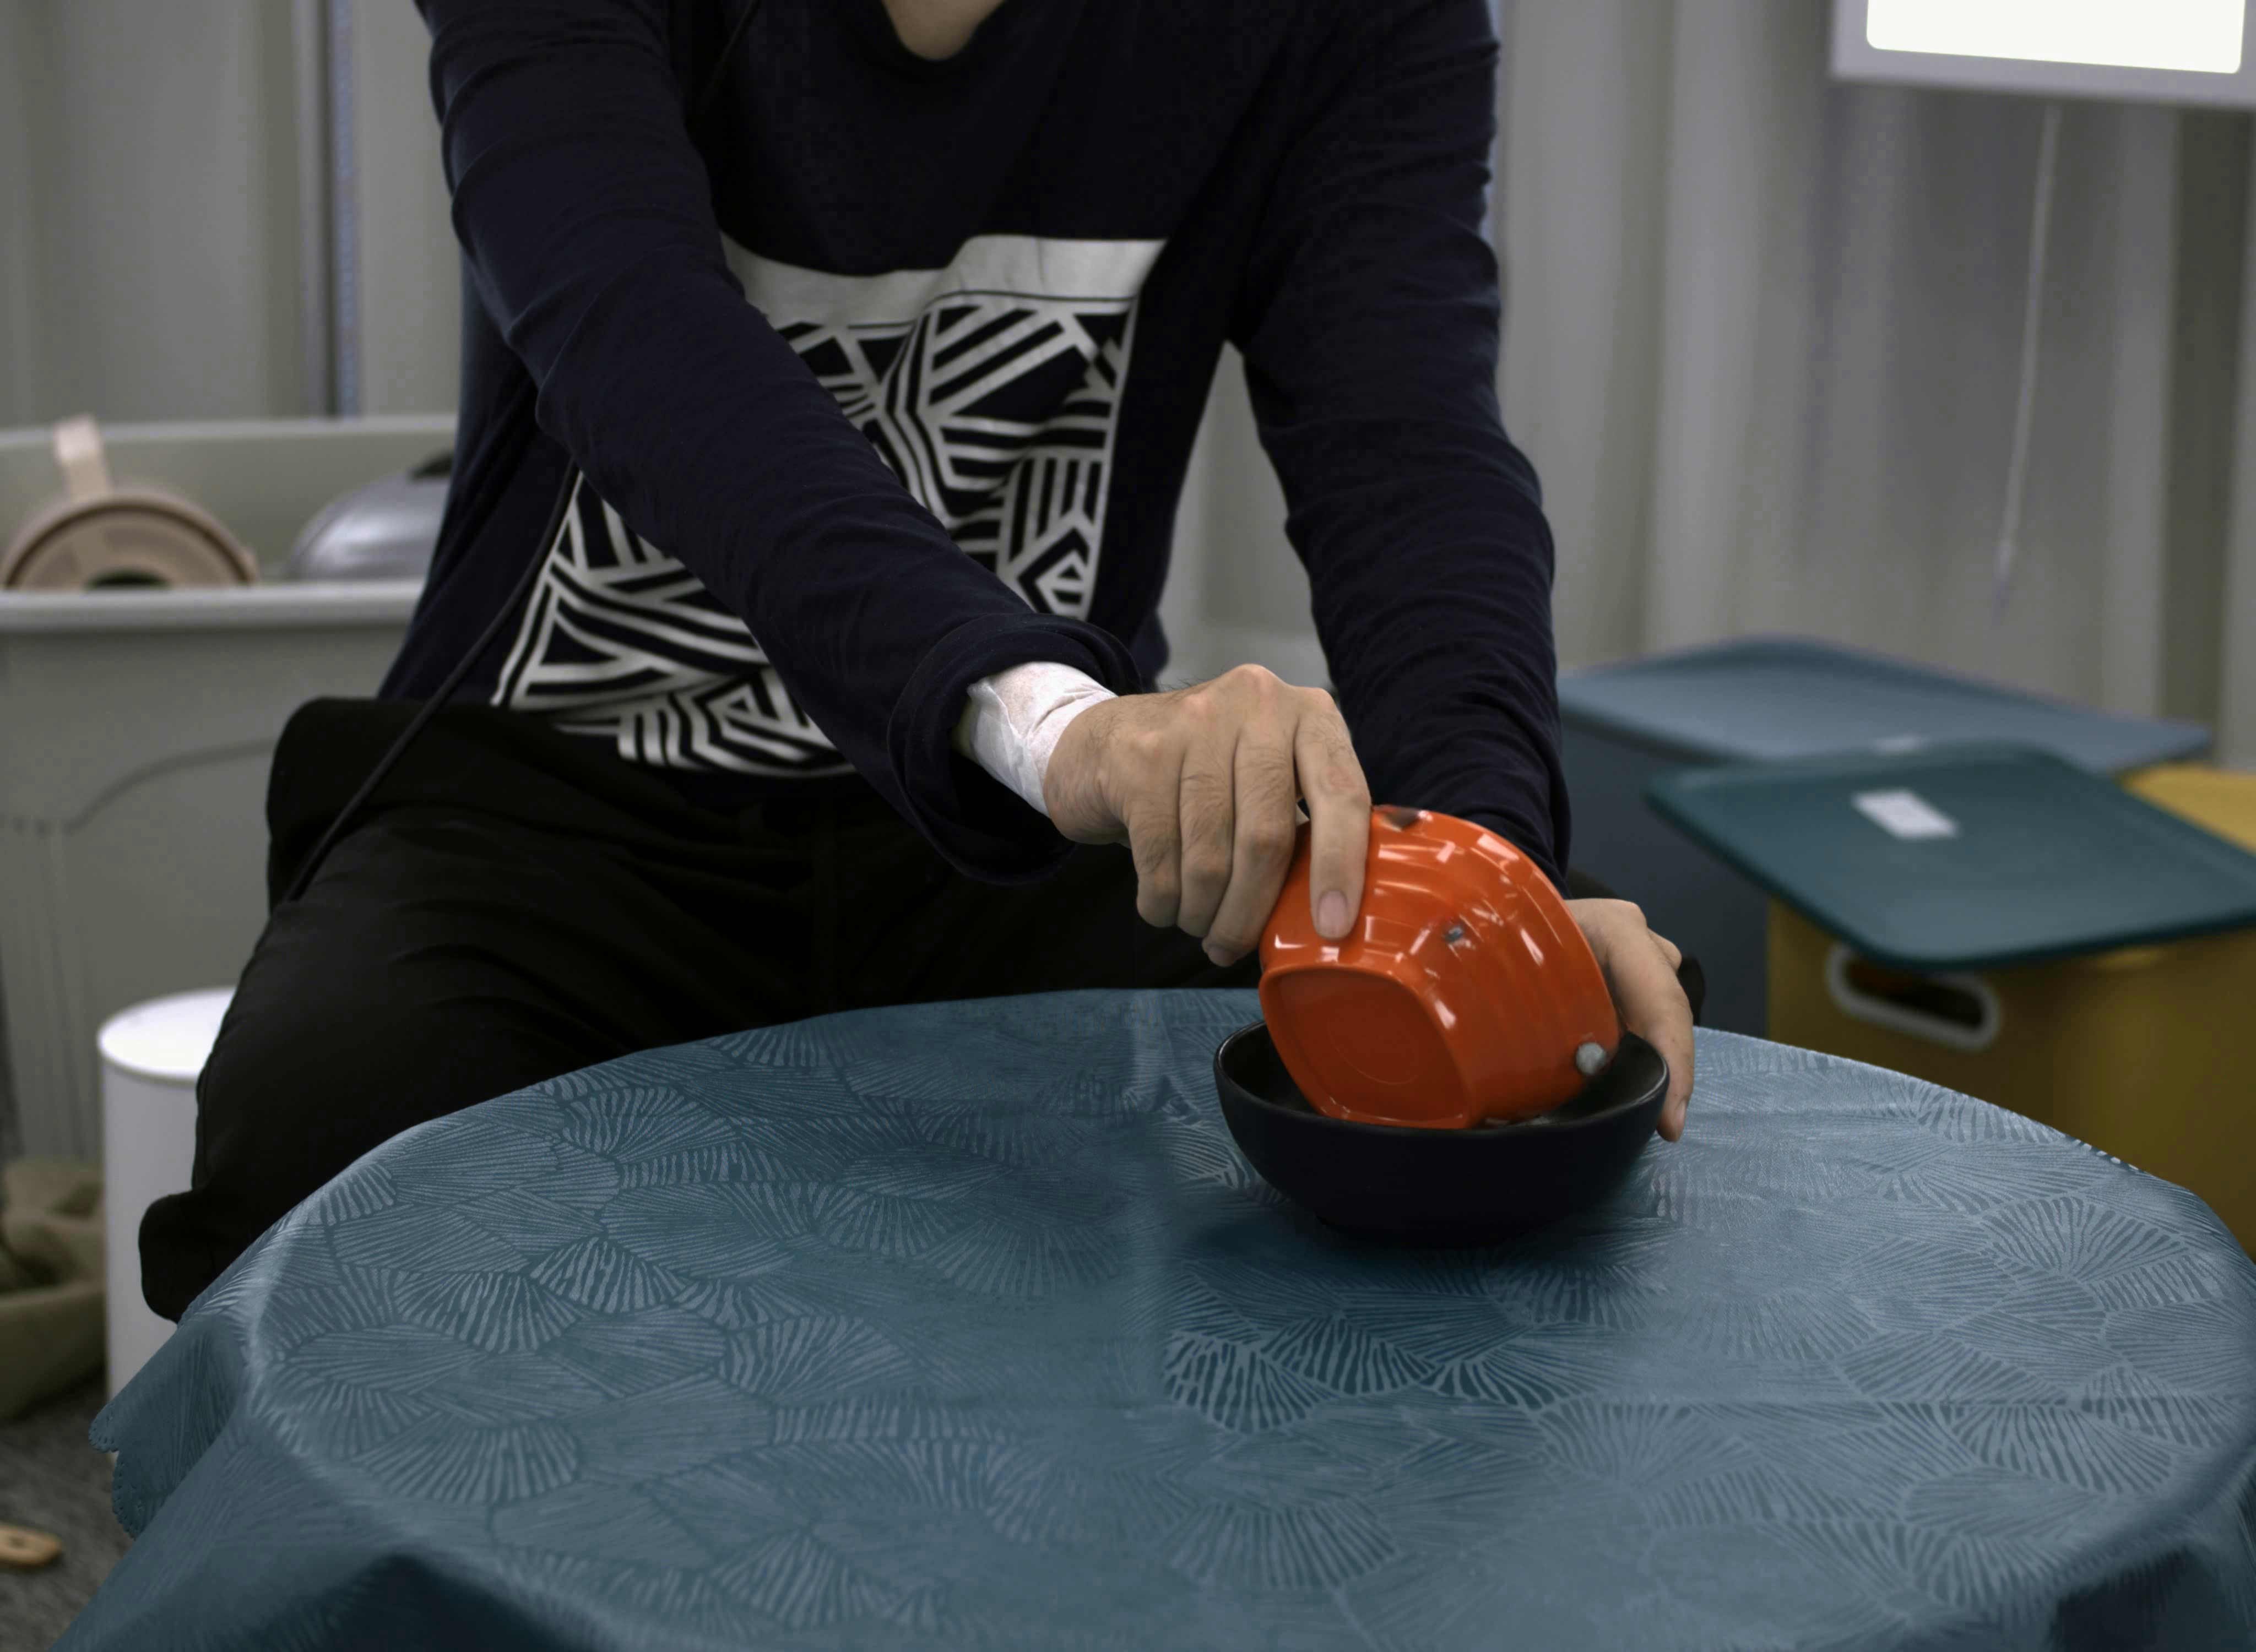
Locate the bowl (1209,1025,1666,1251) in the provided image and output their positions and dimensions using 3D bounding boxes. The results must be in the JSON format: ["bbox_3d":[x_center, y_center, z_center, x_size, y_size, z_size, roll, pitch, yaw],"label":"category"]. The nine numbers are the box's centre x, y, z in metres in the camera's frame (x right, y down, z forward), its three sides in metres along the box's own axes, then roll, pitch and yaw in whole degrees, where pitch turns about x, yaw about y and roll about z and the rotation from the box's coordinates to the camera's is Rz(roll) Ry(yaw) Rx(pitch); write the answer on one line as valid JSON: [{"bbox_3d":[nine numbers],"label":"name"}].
[{"bbox_3d":[0.094,0.096,1.601,0.139,0.050,0.139,0,11,0],"label":"bowl"}]

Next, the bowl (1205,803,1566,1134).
[{"bbox_3d":[0.067,0.051,1.558,0.117,0.120,0.051,13,50,36],"label":"bowl"}]
